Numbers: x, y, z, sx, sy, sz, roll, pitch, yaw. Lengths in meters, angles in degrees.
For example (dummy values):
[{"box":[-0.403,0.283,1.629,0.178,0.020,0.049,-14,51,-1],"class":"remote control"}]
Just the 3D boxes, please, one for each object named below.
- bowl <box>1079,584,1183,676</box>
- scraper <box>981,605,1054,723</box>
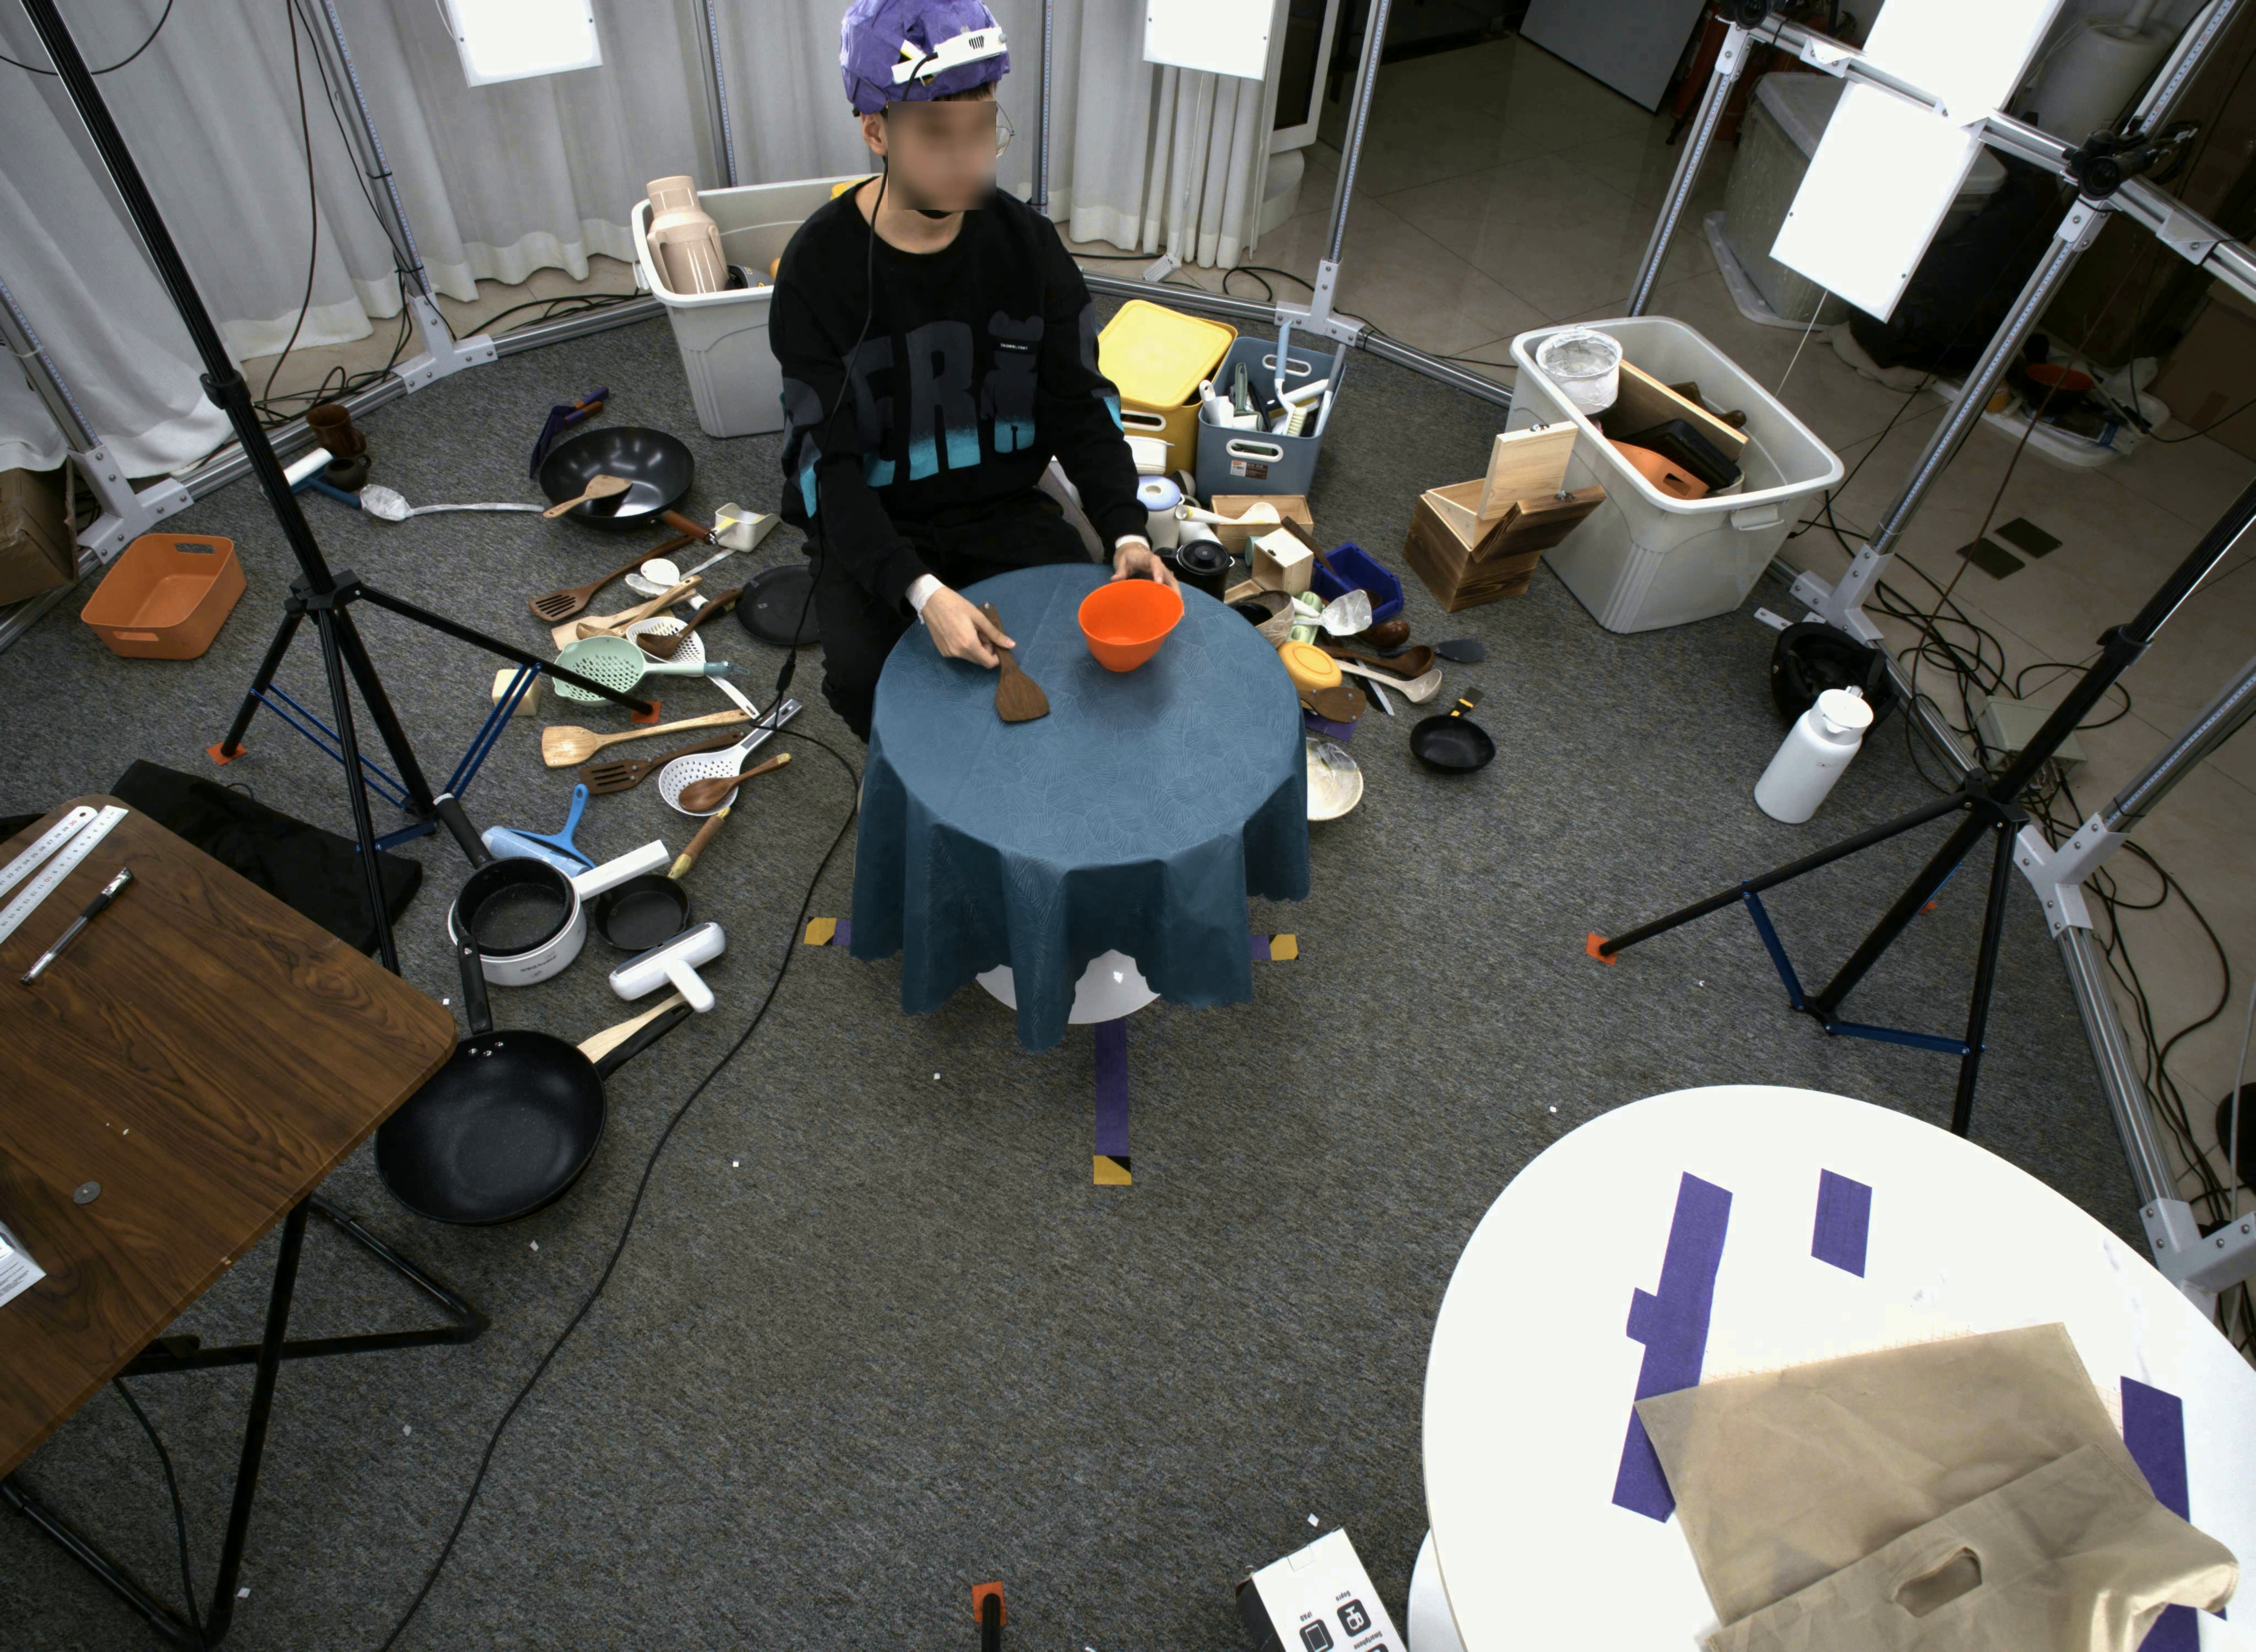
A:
[{"box":[0.002,-0.275,1.860,0.148,0.102,0.152,1,49,-1],"class":"bowl"},{"box":[-0.170,-0.235,1.850,0.076,0.010,0.215,-12,62,-18],"class":"scraper"}]
